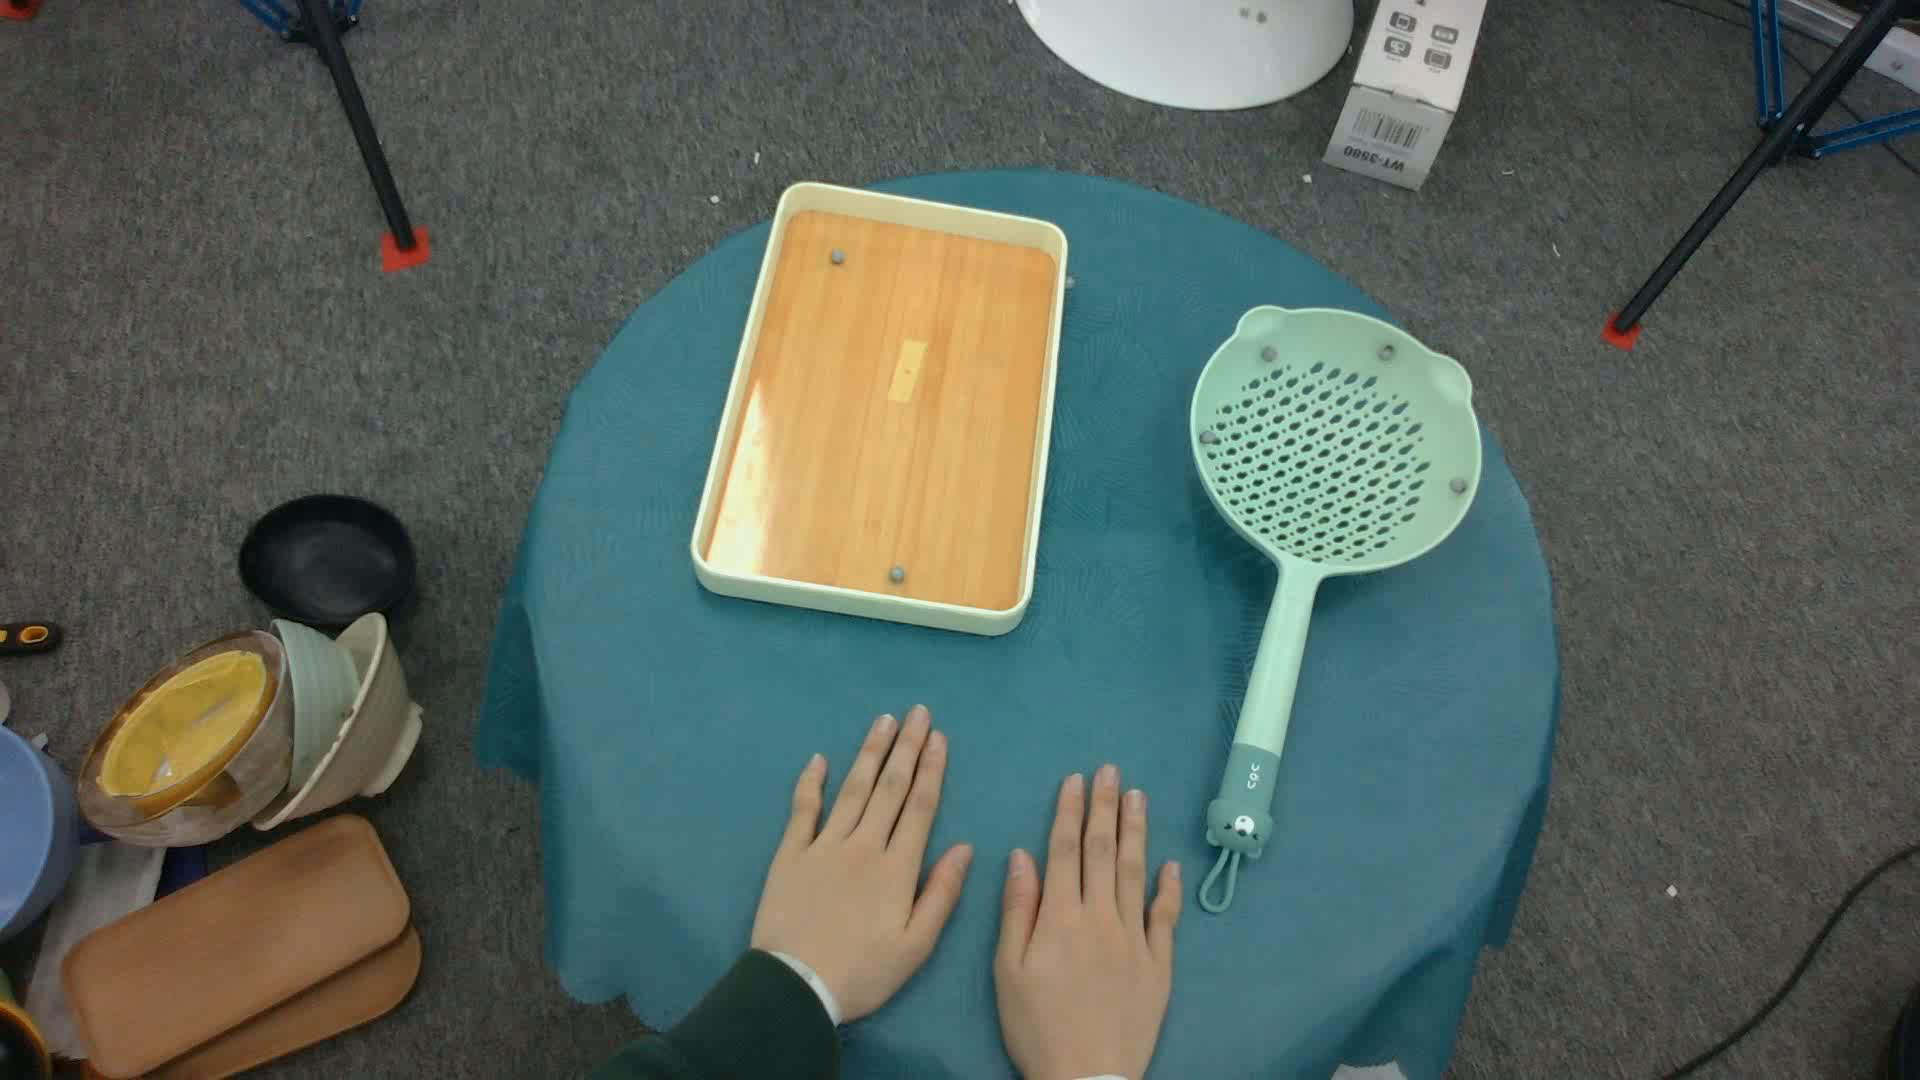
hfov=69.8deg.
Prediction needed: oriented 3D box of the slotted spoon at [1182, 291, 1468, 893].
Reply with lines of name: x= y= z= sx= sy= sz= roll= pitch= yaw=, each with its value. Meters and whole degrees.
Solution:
slotted spoon: x=0.181 y=0.019 z=0.770 sx=0.169 sy=0.075 sz=0.360 roll=18 pitch=58 yaw=4

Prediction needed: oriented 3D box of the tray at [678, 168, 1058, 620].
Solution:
tray: x=-0.046 y=-0.098 z=0.833 sx=0.191 sy=0.027 sz=0.301 roll=9 pitch=58 yaw=-2
